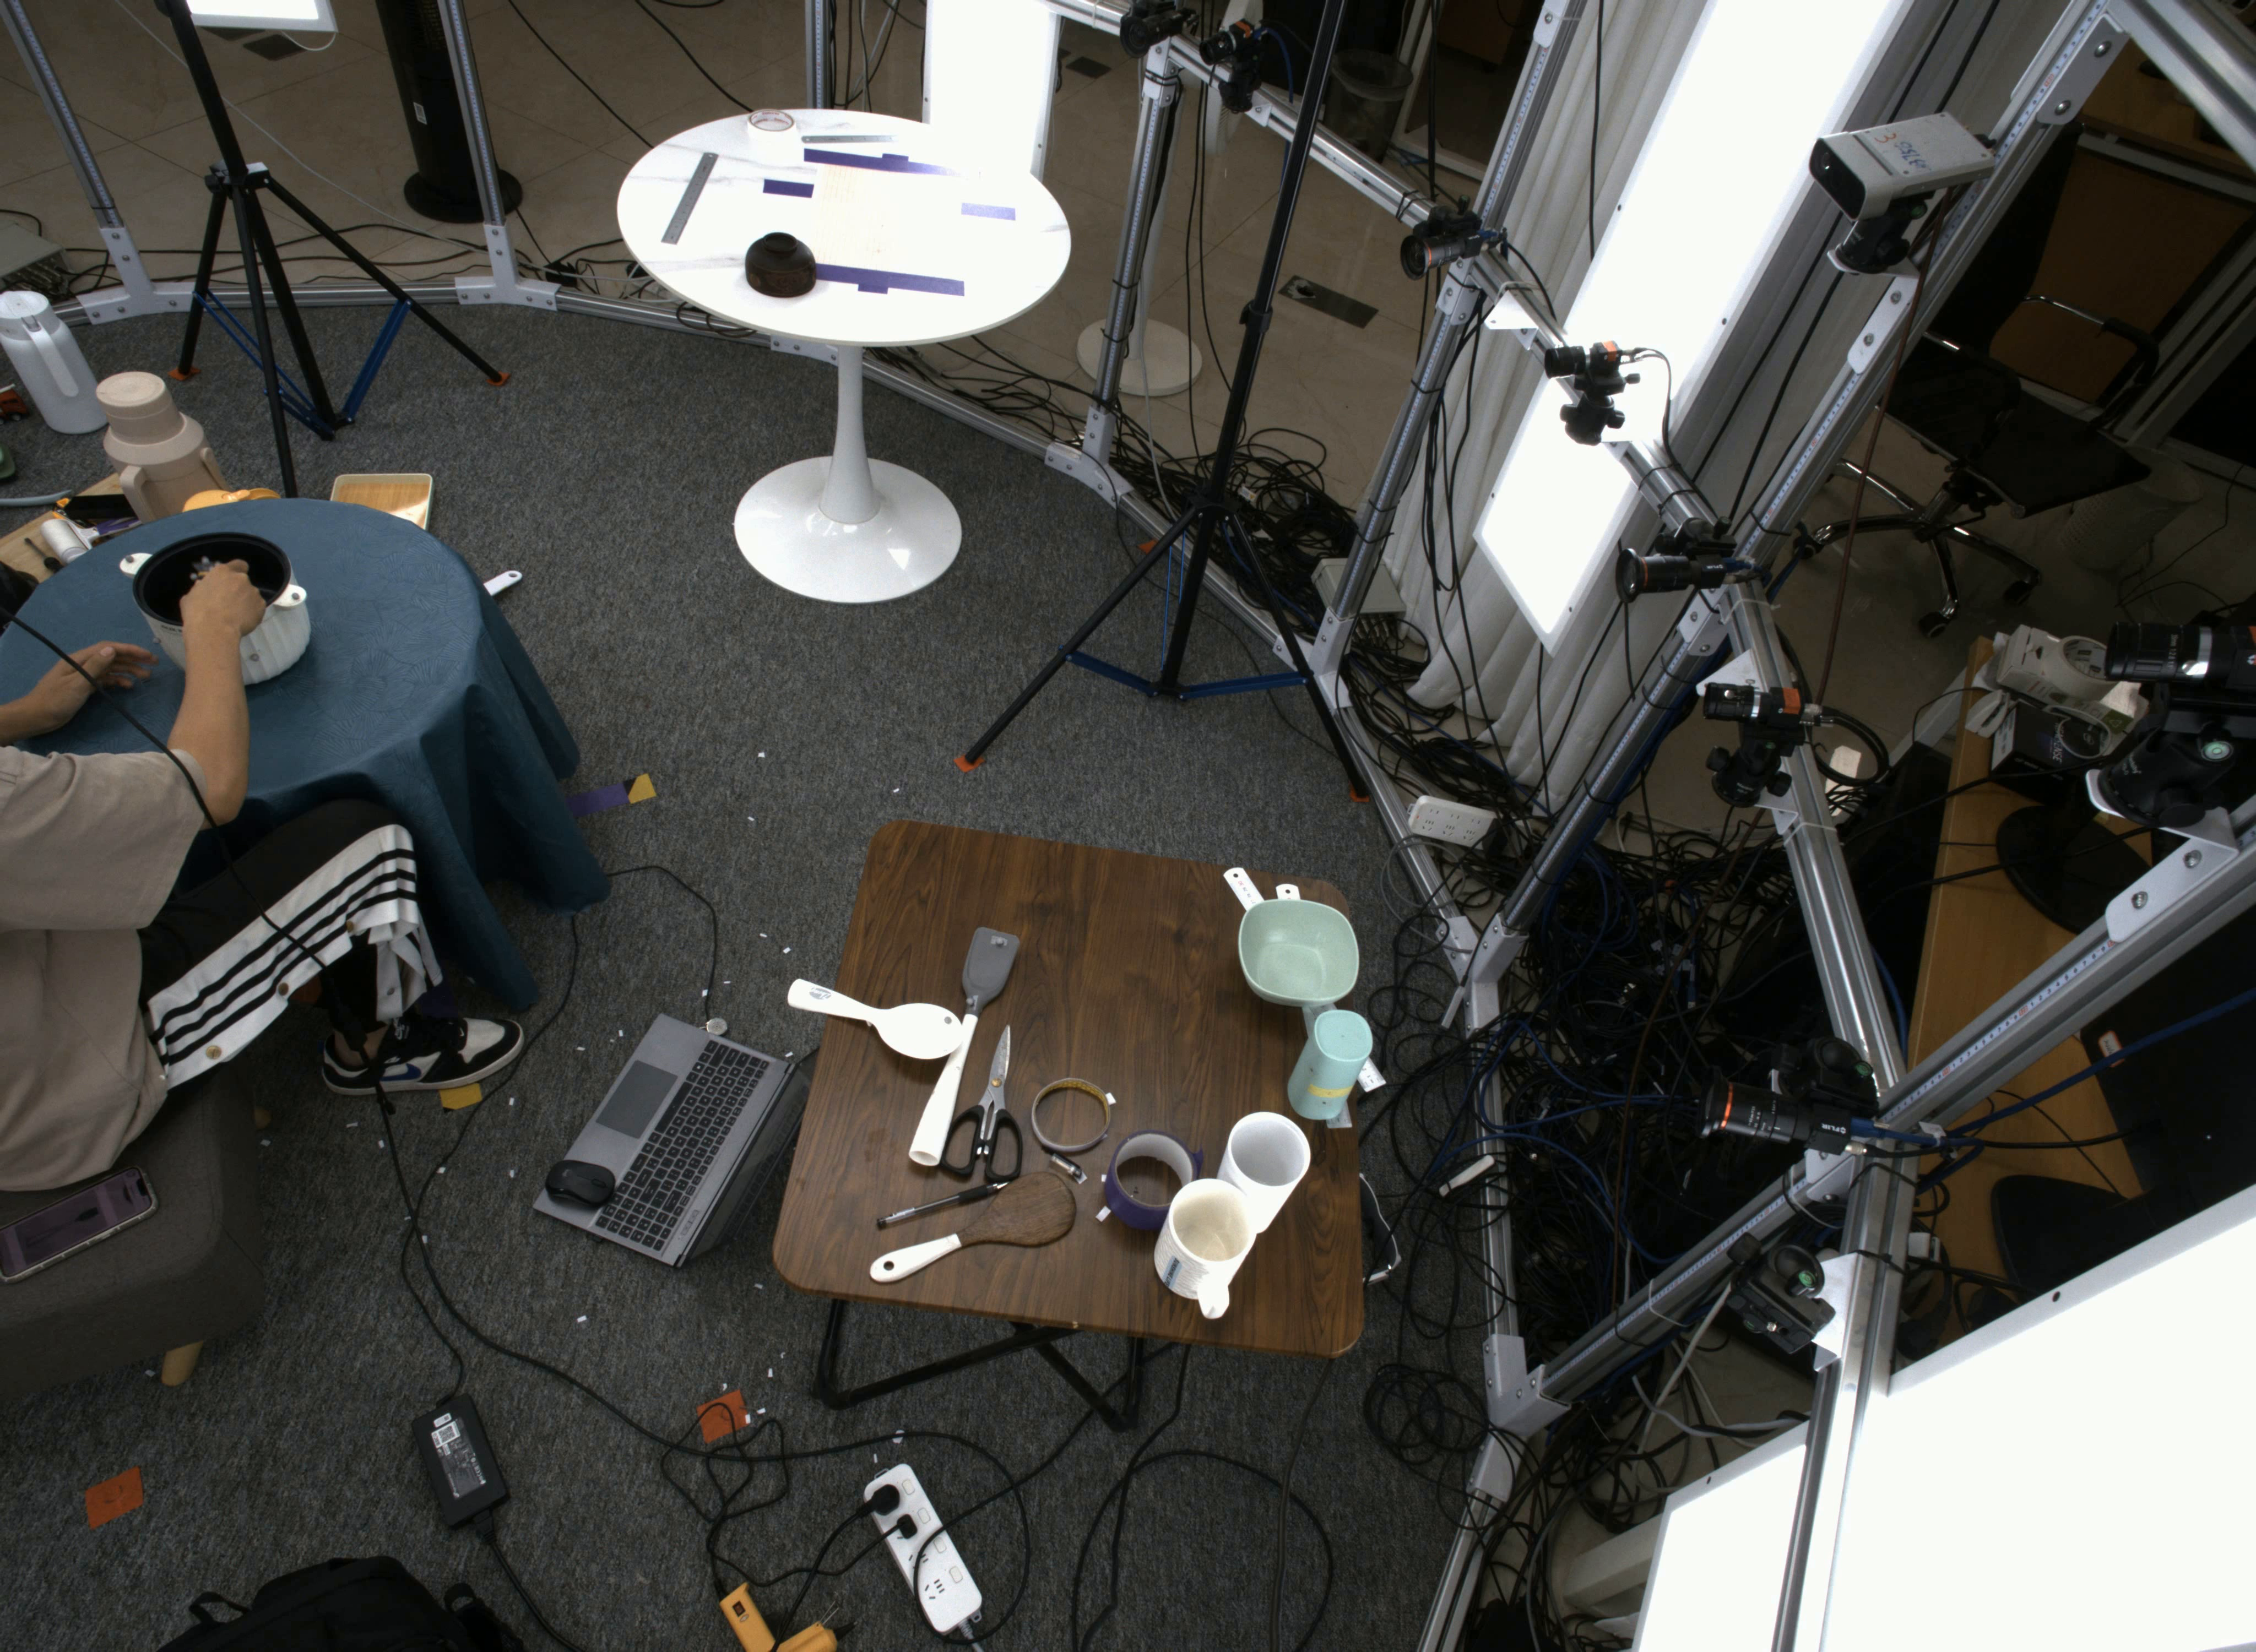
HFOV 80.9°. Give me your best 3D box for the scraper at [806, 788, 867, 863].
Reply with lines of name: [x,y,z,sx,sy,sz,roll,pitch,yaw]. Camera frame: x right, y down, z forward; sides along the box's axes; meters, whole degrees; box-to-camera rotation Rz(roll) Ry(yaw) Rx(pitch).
scraper: [-0.345,-0.003,1.542,0.039,0.015,0.165,4,27,-32]

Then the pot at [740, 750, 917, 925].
pot: [-0.380,0.020,1.640,0.237,0.146,0.189,22,48,6]
